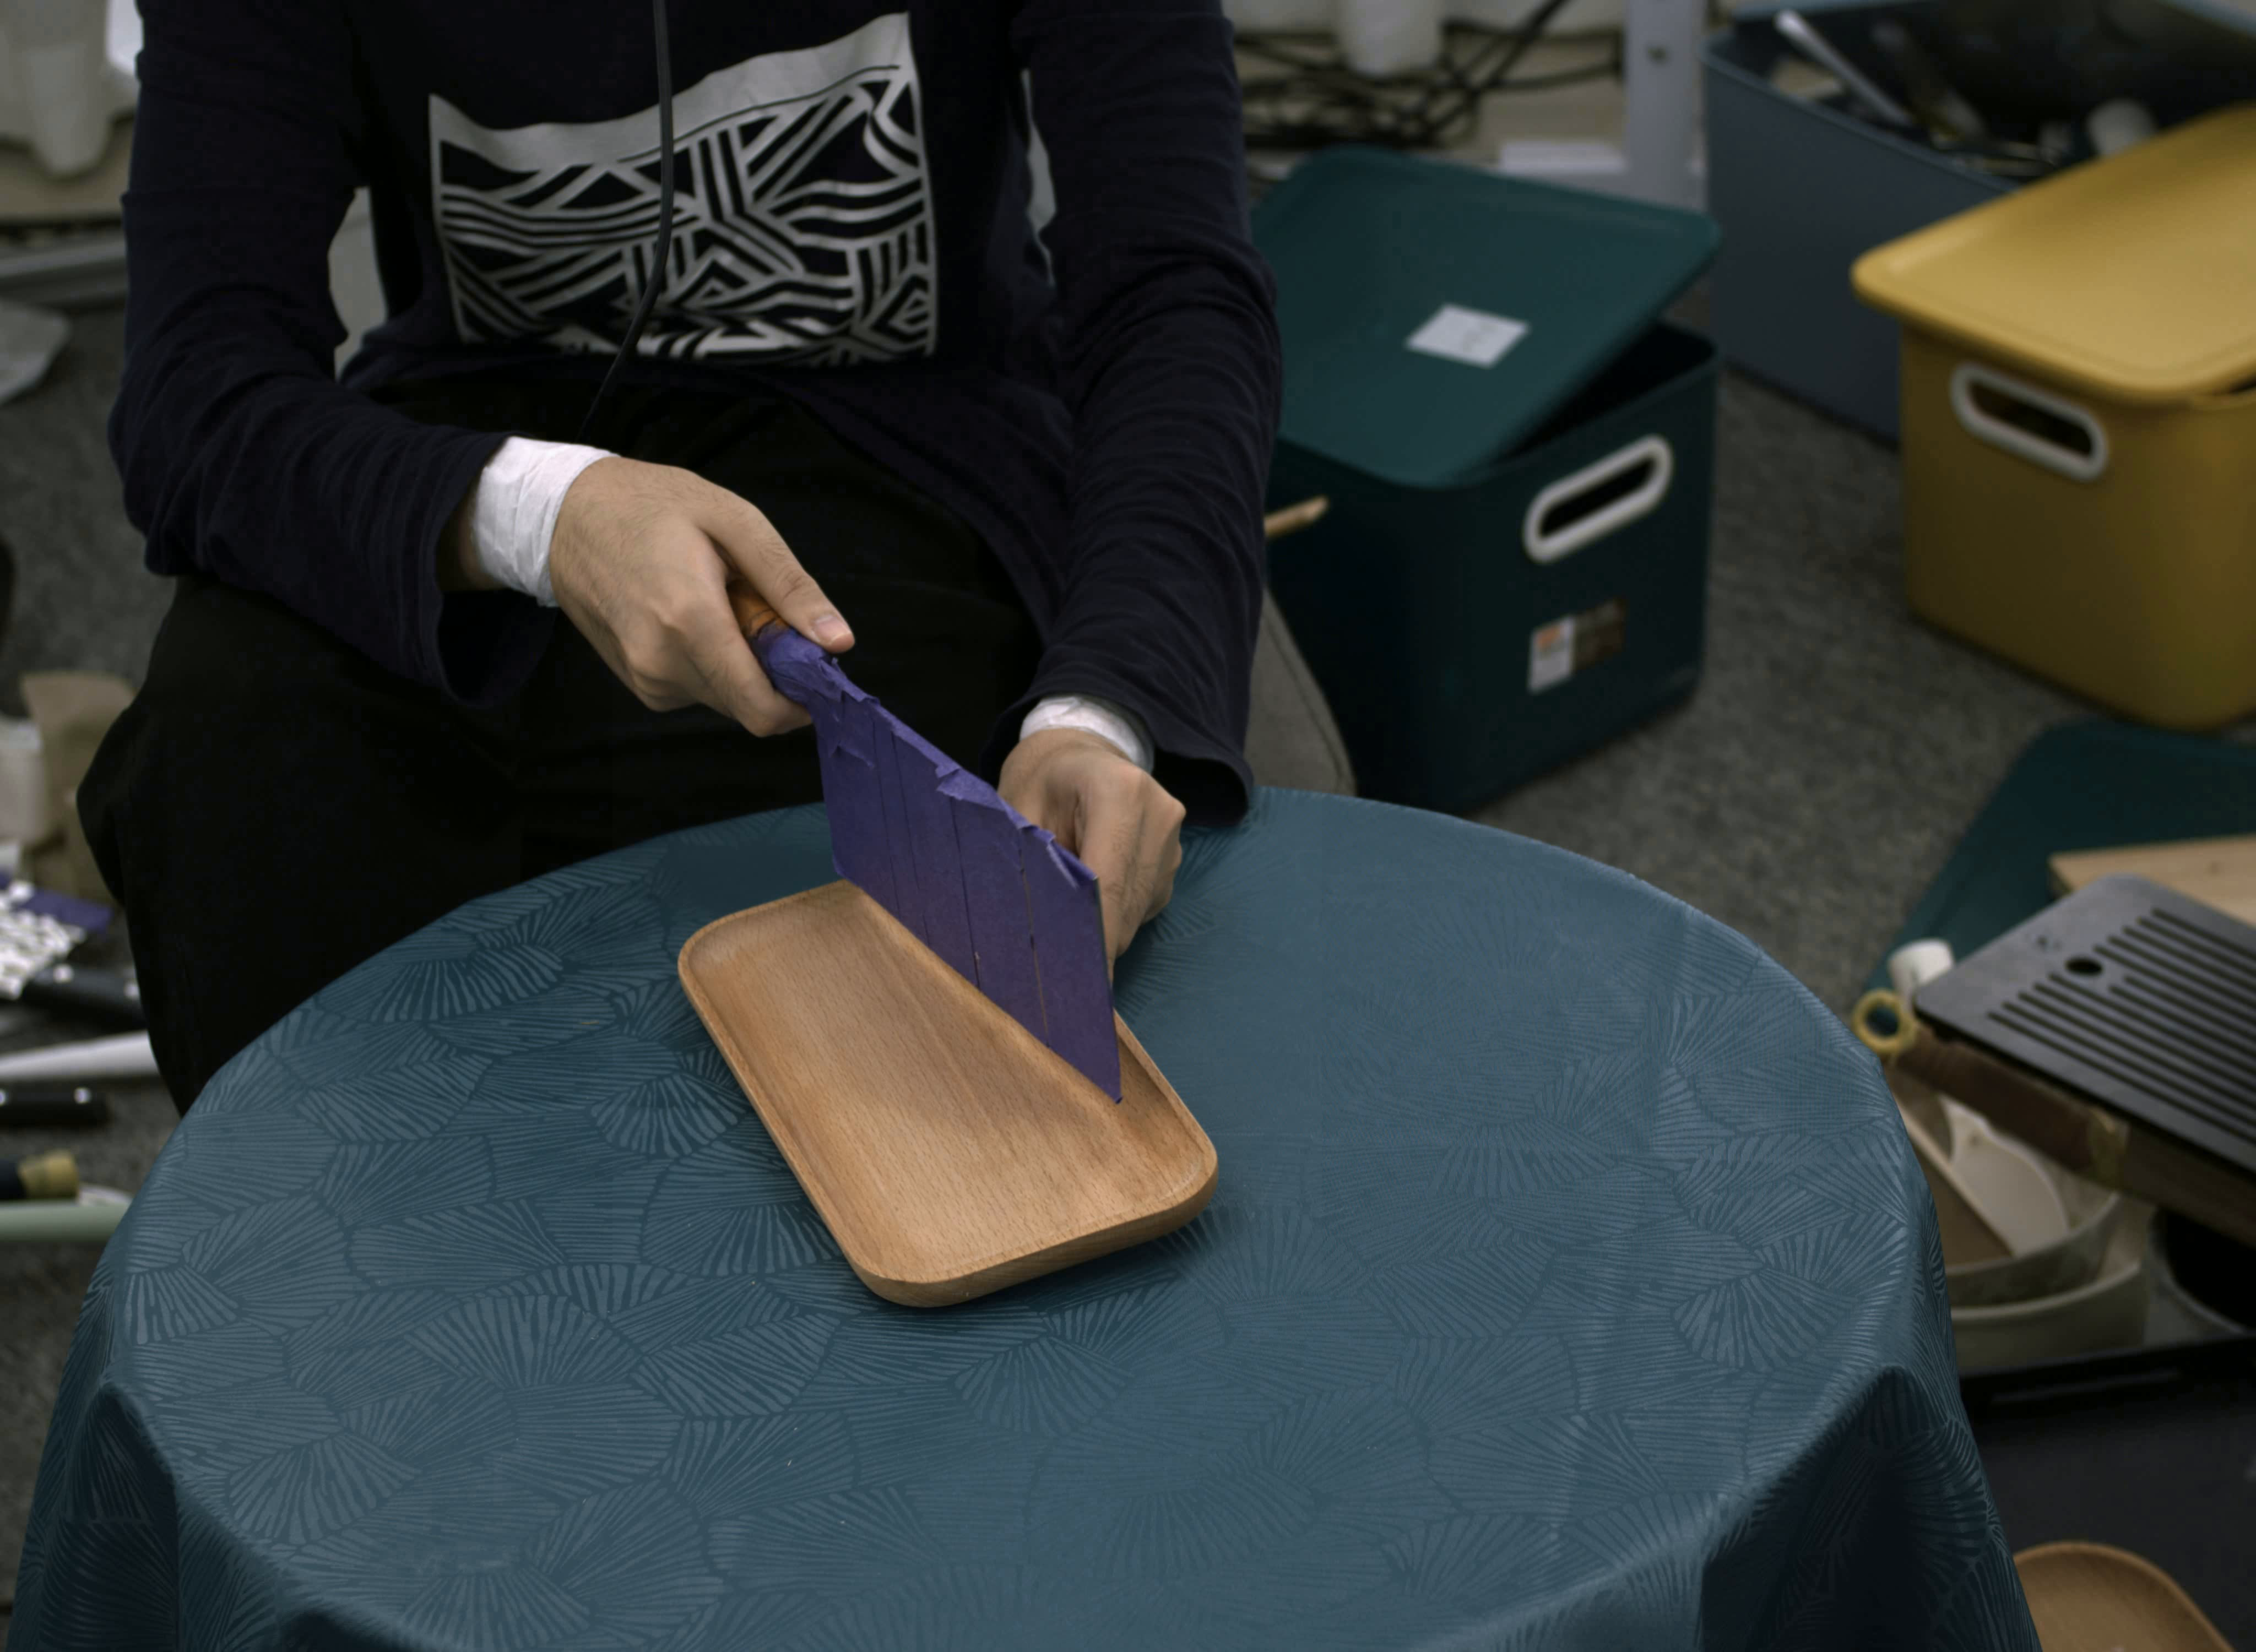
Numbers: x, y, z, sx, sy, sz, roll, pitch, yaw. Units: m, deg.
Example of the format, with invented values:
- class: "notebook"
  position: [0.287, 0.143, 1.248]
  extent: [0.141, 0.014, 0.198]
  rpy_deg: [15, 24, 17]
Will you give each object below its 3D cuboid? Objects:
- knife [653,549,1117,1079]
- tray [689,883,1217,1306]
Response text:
- class: "knife"
  position: [-0.087, -0.004, 1.955]
  extent: [0.032, 0.103, 0.317]
  rpy_deg: [-17, 30, -22]
- class: "tray"
  position: [-0.062, 0.083, 1.907]
  extent: [0.131, 0.022, 0.253]
  rpy_deg: [-13, 30, -13]
